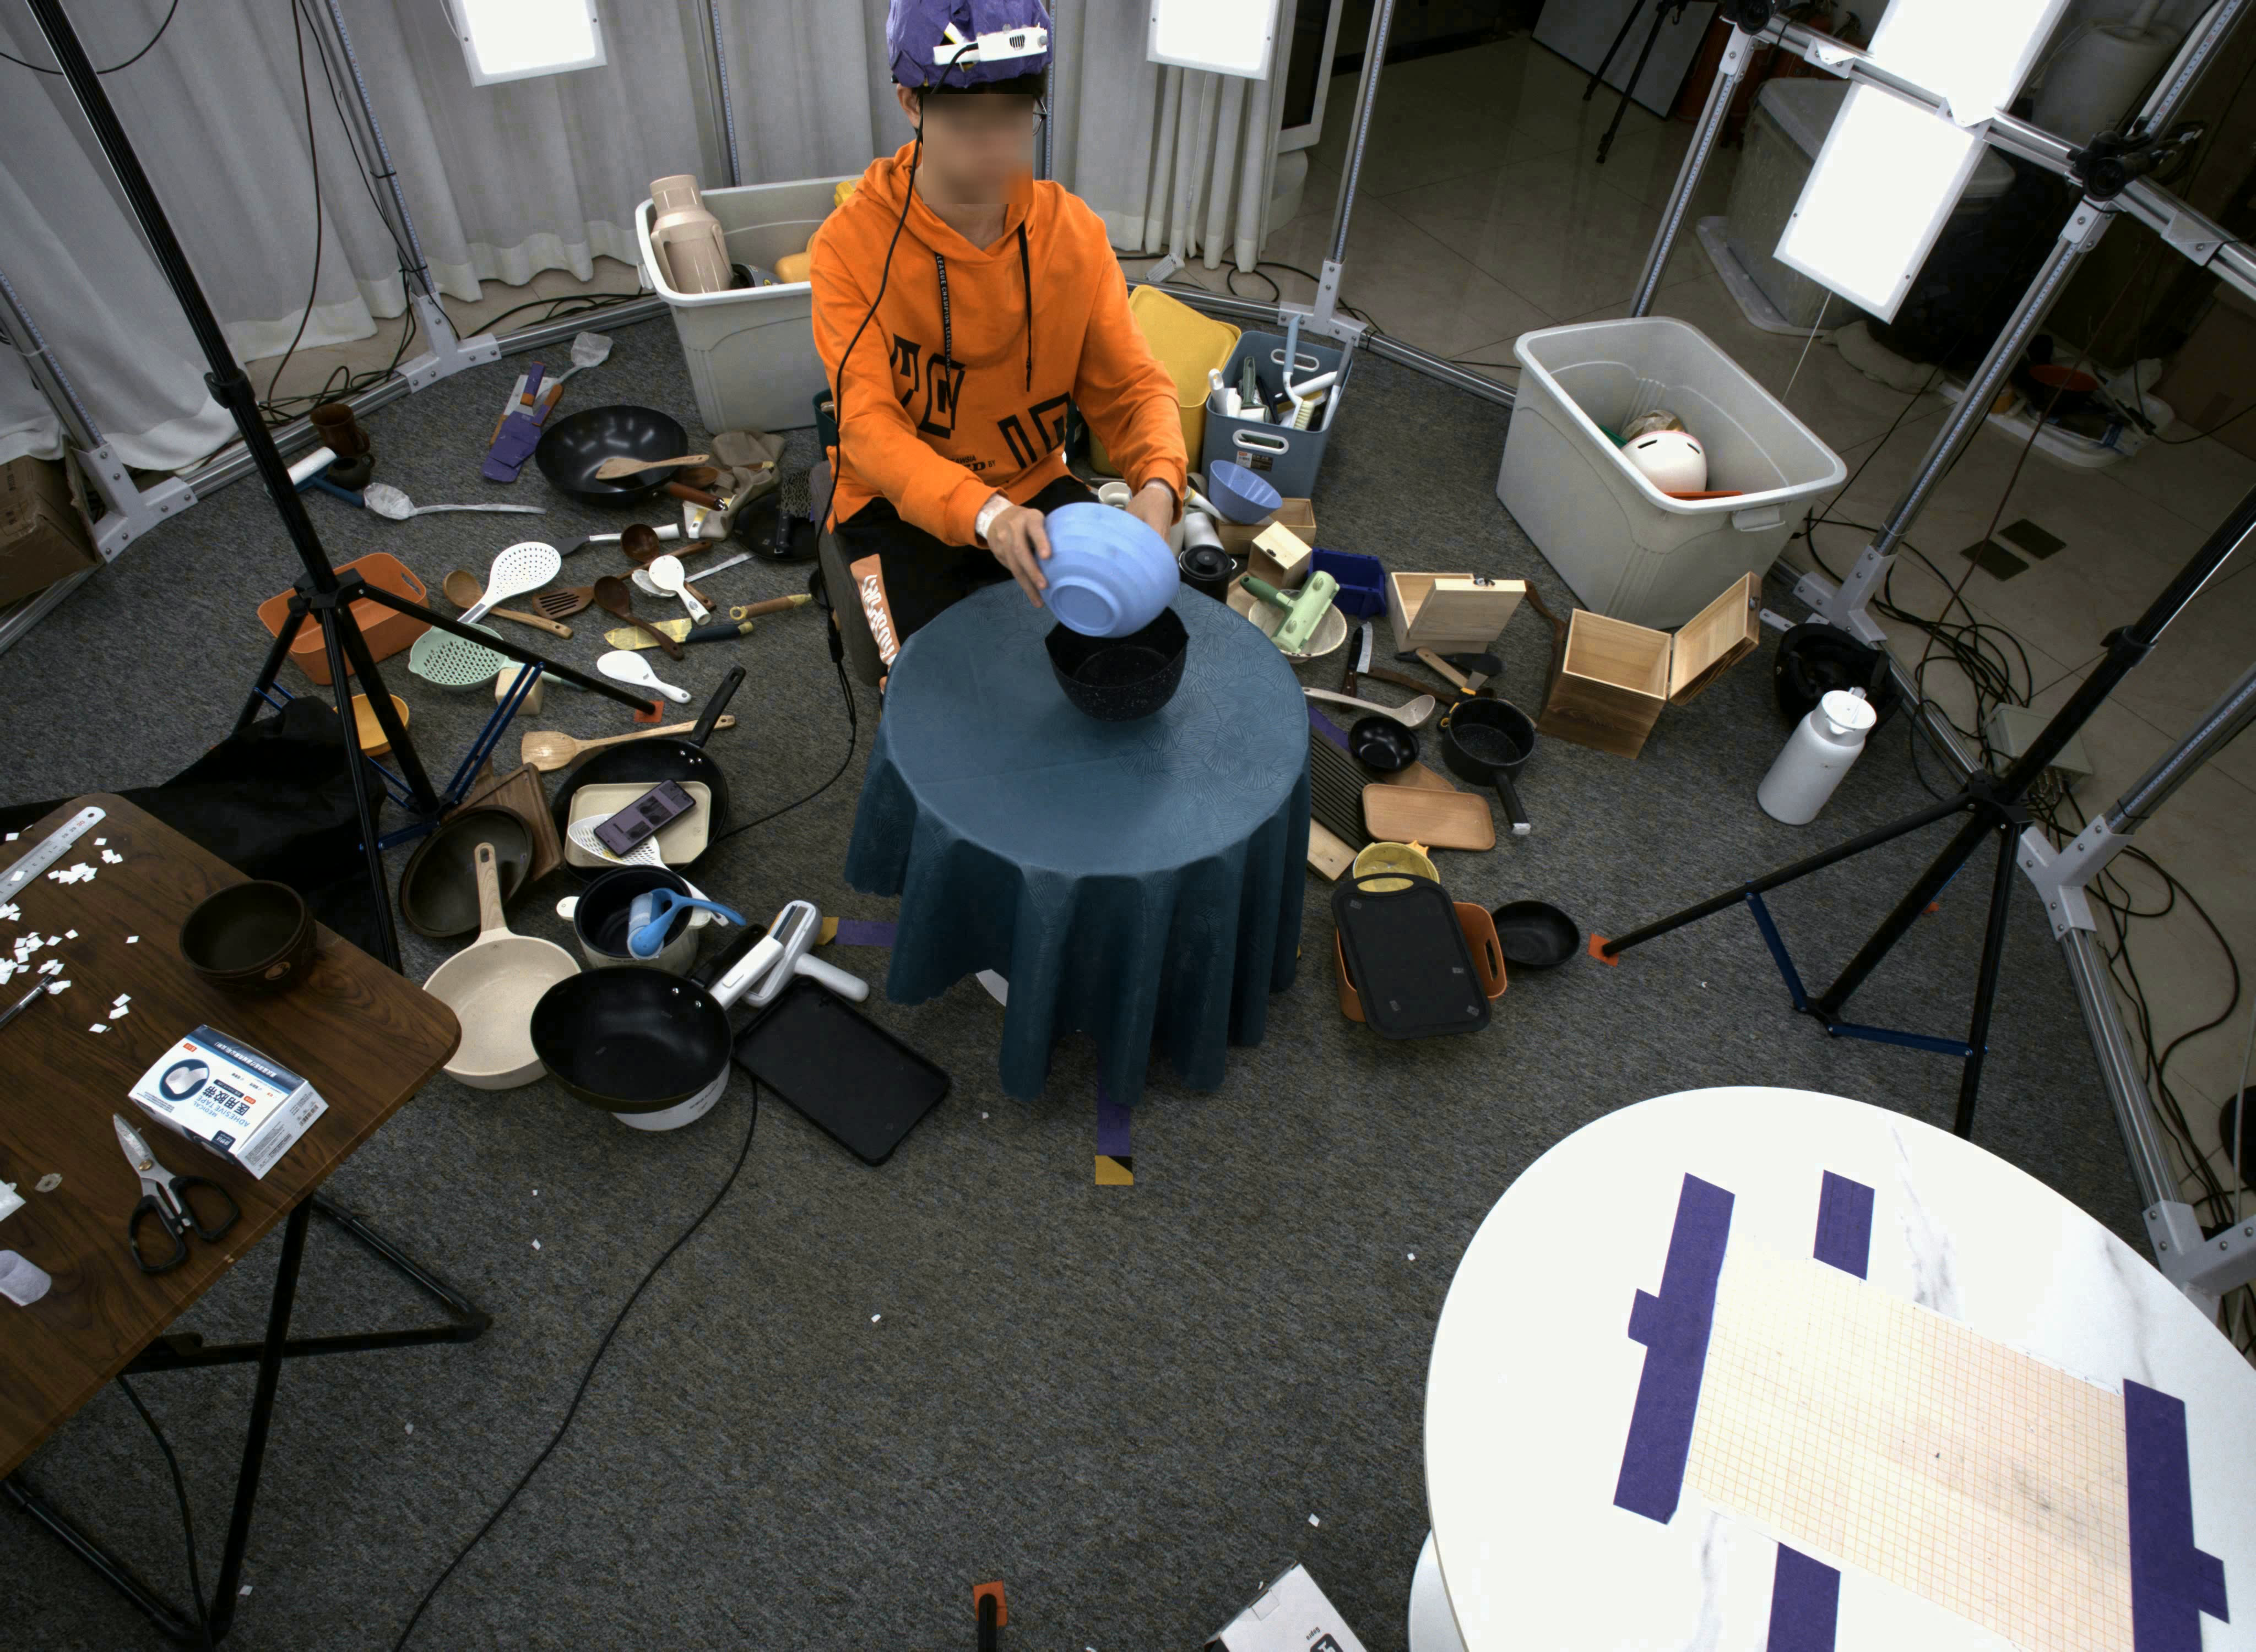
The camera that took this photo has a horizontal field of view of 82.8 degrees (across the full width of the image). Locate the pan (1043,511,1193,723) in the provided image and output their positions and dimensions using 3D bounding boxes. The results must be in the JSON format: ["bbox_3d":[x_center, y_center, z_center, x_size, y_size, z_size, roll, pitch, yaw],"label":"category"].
[{"bbox_3d":[-0.003,-0.292,1.793,0.207,0.105,0.351,0,50,10],"label":"pan"}]

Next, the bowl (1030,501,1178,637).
[{"bbox_3d":[-0.044,-0.309,1.641,0.197,0.192,0.097,19,61,11],"label":"bowl"}]
